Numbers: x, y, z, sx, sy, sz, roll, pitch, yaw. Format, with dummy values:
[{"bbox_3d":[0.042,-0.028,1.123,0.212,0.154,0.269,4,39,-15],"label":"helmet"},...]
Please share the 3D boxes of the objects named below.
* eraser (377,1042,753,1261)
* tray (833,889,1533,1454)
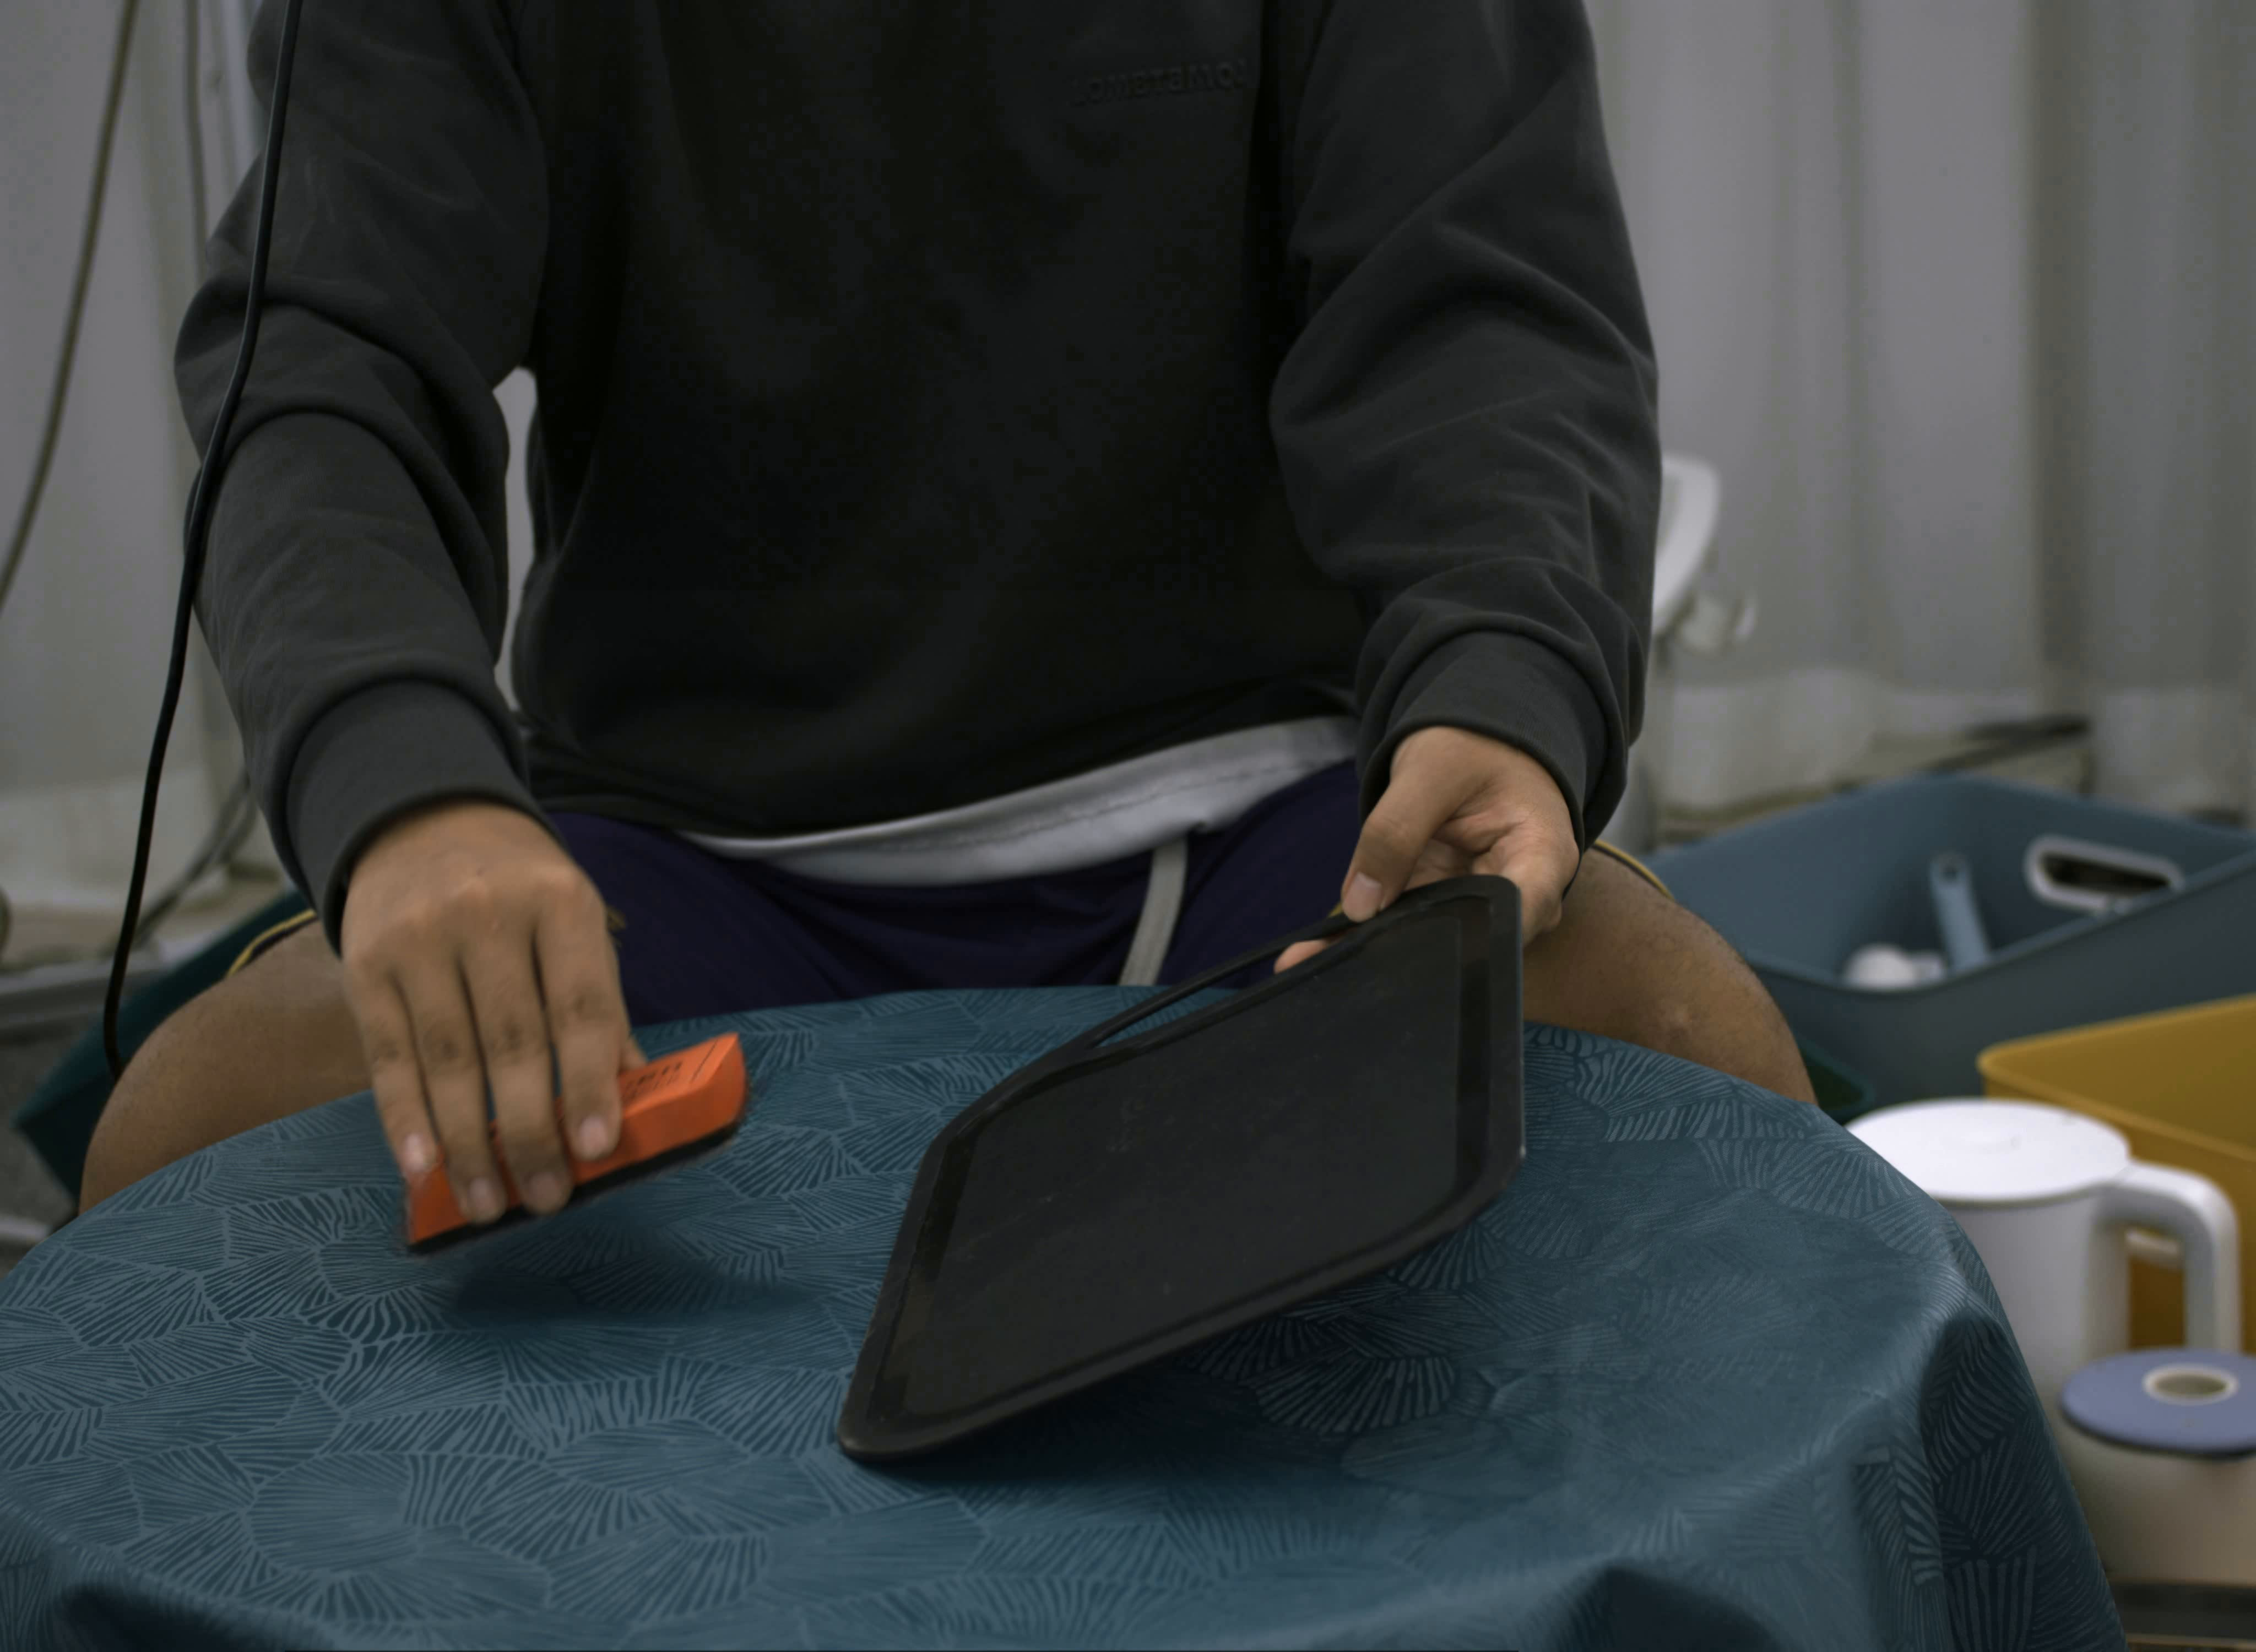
[{"bbox_3d":[-0.168,0.098,1.642,0.108,0.023,0.059,-19,12,12],"label":"eraser"},{"bbox_3d":[0.021,0.093,1.619,0.210,0.010,0.328,-22,14,11],"label":"tray"}]
